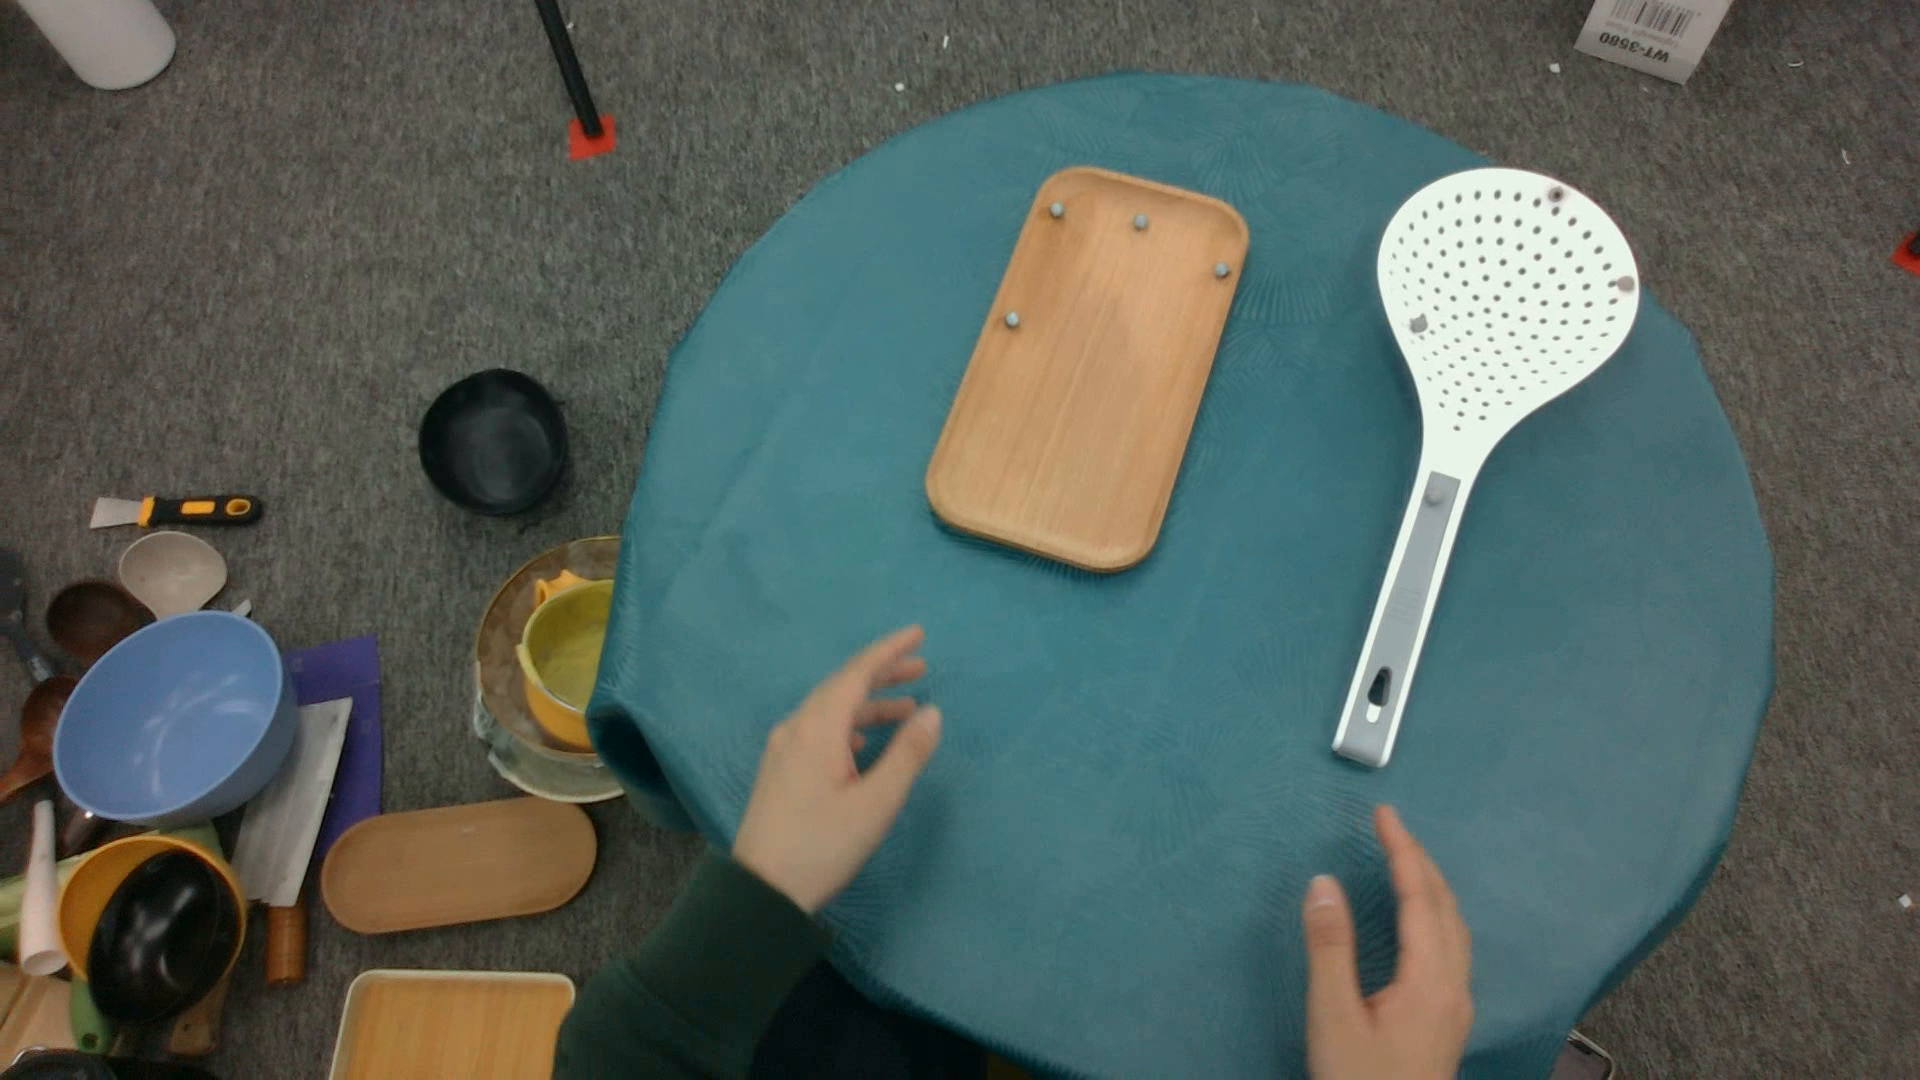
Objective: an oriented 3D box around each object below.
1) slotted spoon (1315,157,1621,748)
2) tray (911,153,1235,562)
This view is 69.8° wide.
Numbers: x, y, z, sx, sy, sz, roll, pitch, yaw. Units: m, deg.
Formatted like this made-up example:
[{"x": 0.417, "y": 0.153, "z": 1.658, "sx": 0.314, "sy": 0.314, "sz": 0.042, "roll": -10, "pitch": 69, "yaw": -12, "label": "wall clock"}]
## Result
[{"x": 0.251, "y": -0.055, "z": 0.724, "sx": 0.136, "sy": 0.045, "sz": 0.351, "roll": 19, "pitch": 67, "yaw": 11, "label": "slotted spoon"}, {"x": 0.067, "y": -0.107, "z": 0.765, "sx": 0.130, "sy": 0.023, "sz": 0.251, "roll": 16, "pitch": 67, "yaw": 10, "label": "tray"}]
